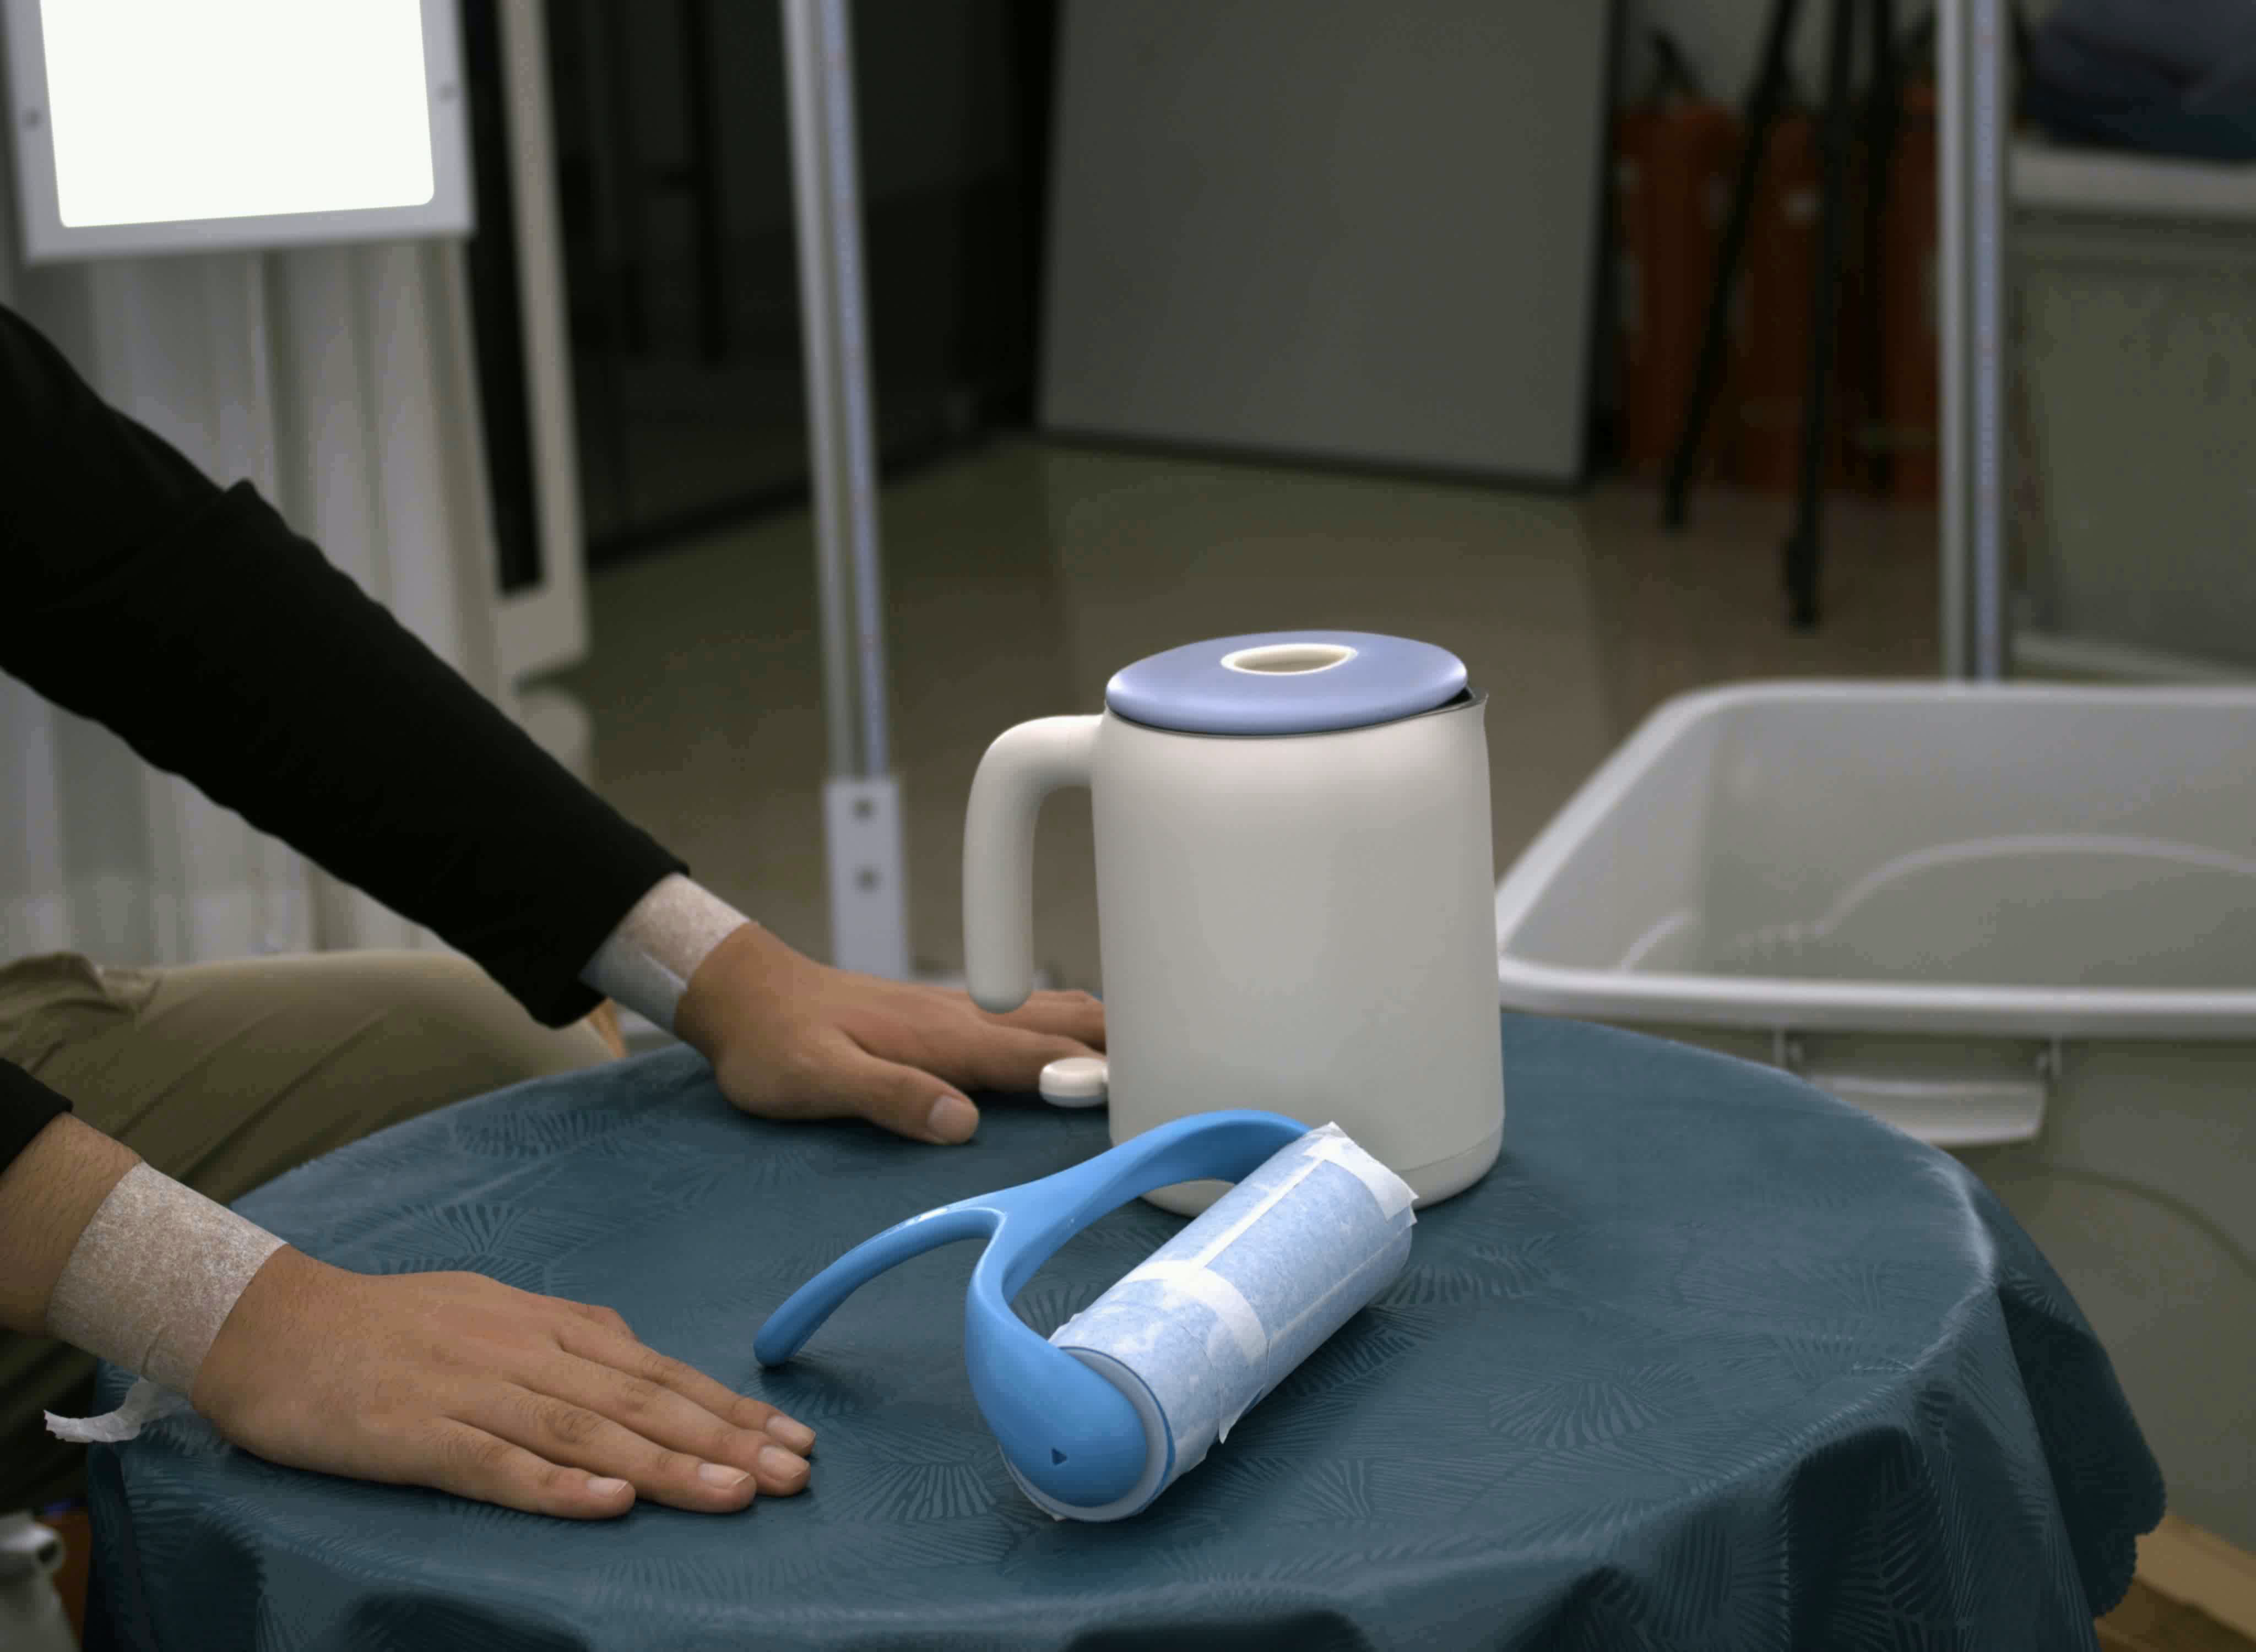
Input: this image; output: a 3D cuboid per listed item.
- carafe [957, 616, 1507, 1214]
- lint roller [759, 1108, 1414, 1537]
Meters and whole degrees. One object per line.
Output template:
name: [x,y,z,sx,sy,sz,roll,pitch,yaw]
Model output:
carafe: [0.032,0.031,1.766,0.191,0.184,0.131,-1,13,22]
lint roller: [-0.029,0.138,1.585,0.180,0.068,0.226,6,19,21]
